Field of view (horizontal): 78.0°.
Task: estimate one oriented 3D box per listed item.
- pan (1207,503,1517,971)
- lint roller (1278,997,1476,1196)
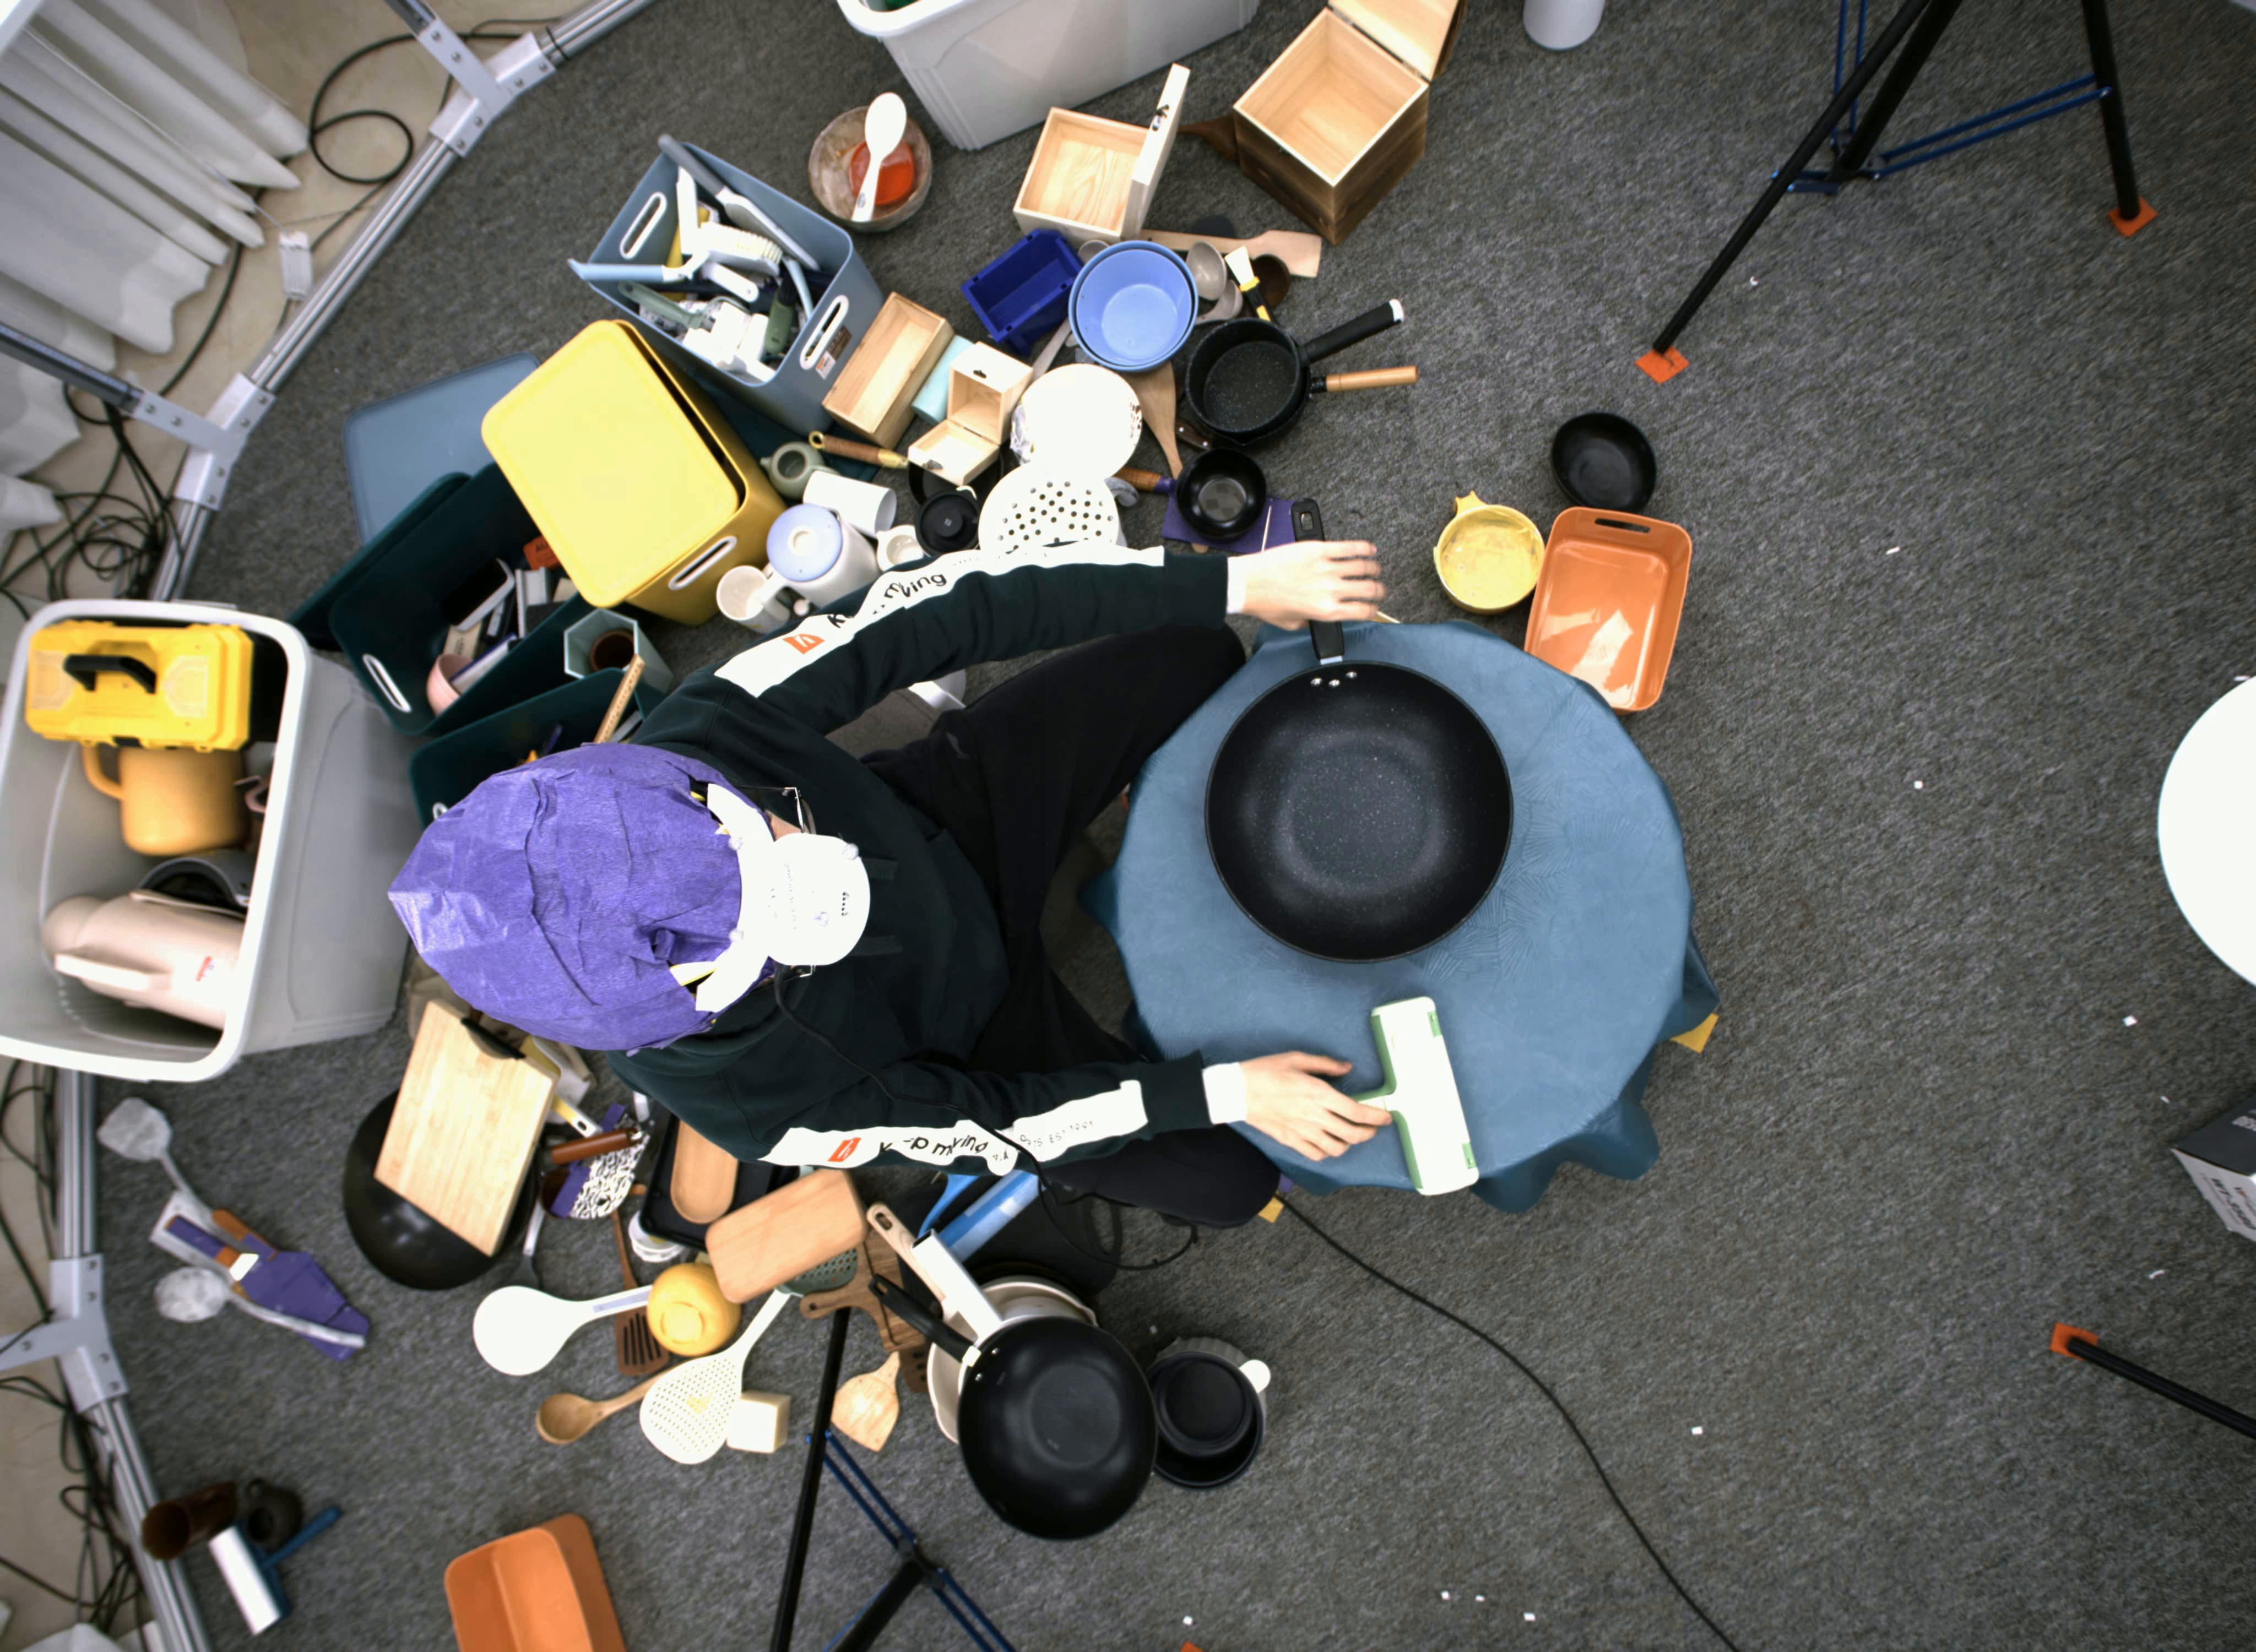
[{"bbox_3d":[0.224,-0.090,1.418,0.311,0.111,0.474,-10,86,8],"label":"pan"},{"bbox_3d":[0.244,0.286,1.411,0.184,0.082,0.197,-14,85,4],"label":"lint roller"}]
